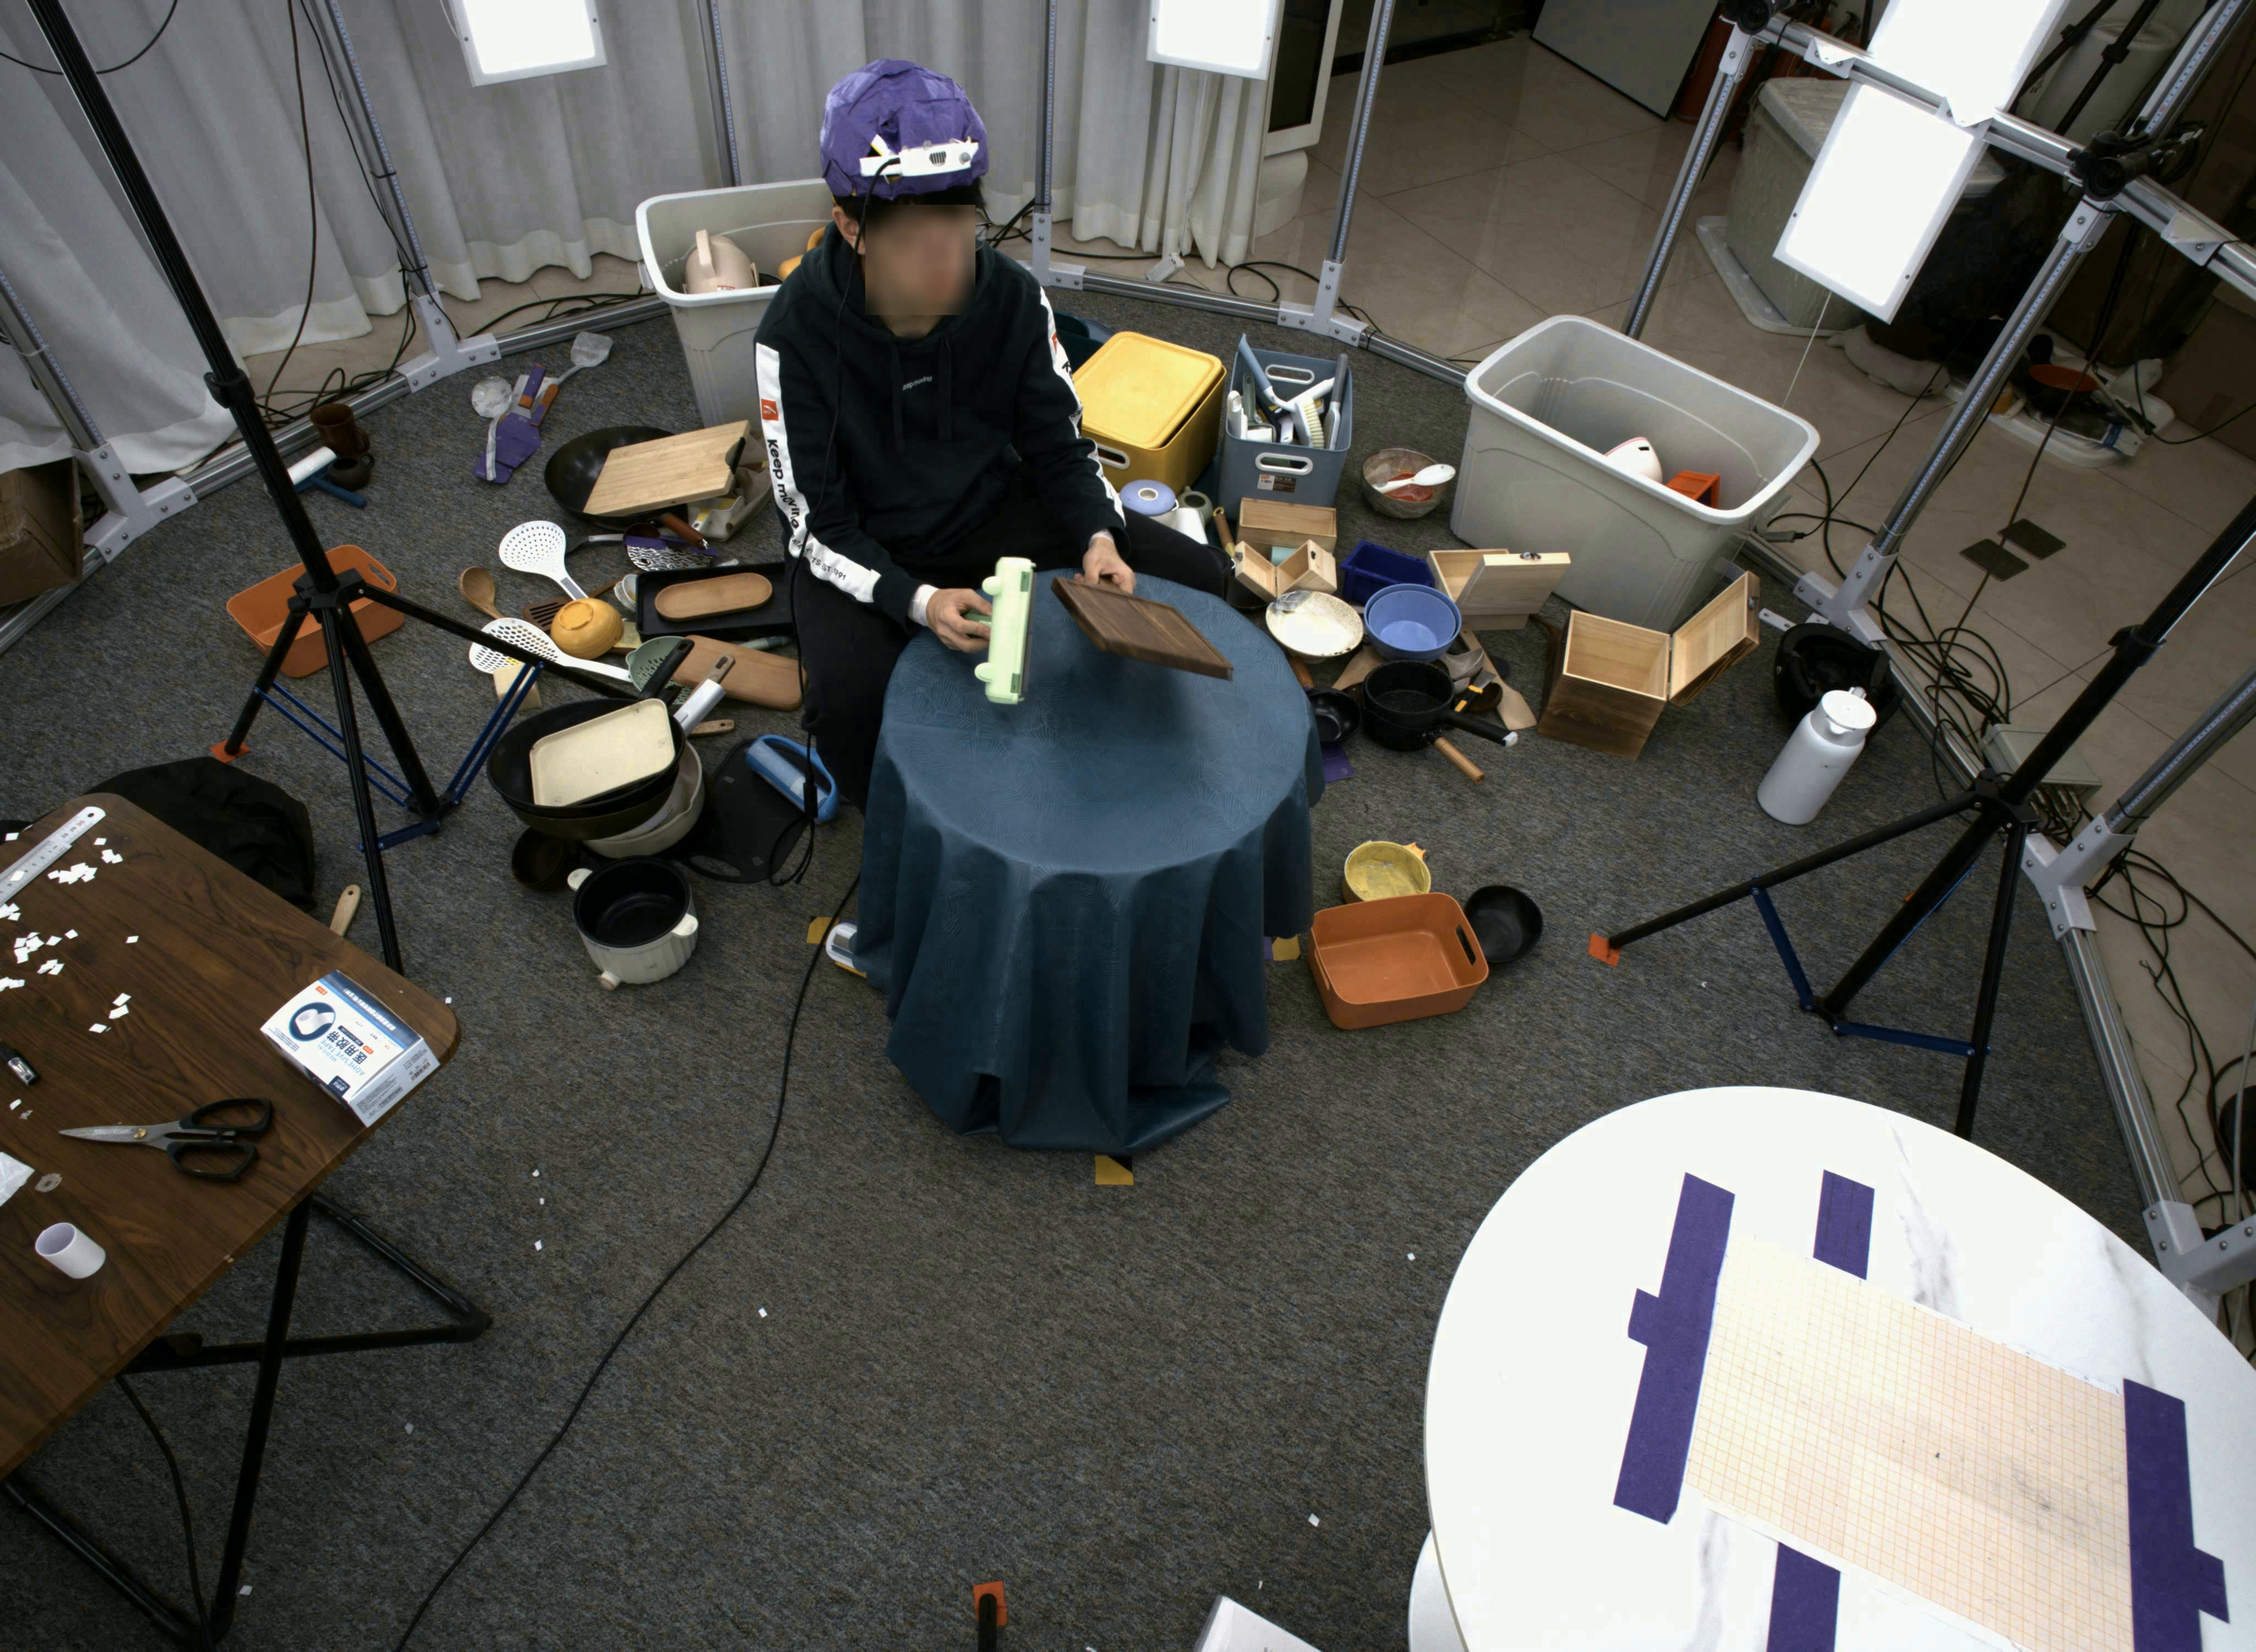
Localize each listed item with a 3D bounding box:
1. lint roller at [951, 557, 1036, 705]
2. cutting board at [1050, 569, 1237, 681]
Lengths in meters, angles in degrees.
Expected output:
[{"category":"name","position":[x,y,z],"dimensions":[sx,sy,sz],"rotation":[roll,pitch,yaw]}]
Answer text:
[{"category":"lint roller","position":[-0.205,-0.275,1.778],"dimensions":[0.185,0.197,0.082],"rotation":[14,11,41]},{"category":"cutting board","position":[0.002,-0.293,1.796],"dimensions":[0.200,0.023,0.360],"rotation":[8,25,-24]}]
